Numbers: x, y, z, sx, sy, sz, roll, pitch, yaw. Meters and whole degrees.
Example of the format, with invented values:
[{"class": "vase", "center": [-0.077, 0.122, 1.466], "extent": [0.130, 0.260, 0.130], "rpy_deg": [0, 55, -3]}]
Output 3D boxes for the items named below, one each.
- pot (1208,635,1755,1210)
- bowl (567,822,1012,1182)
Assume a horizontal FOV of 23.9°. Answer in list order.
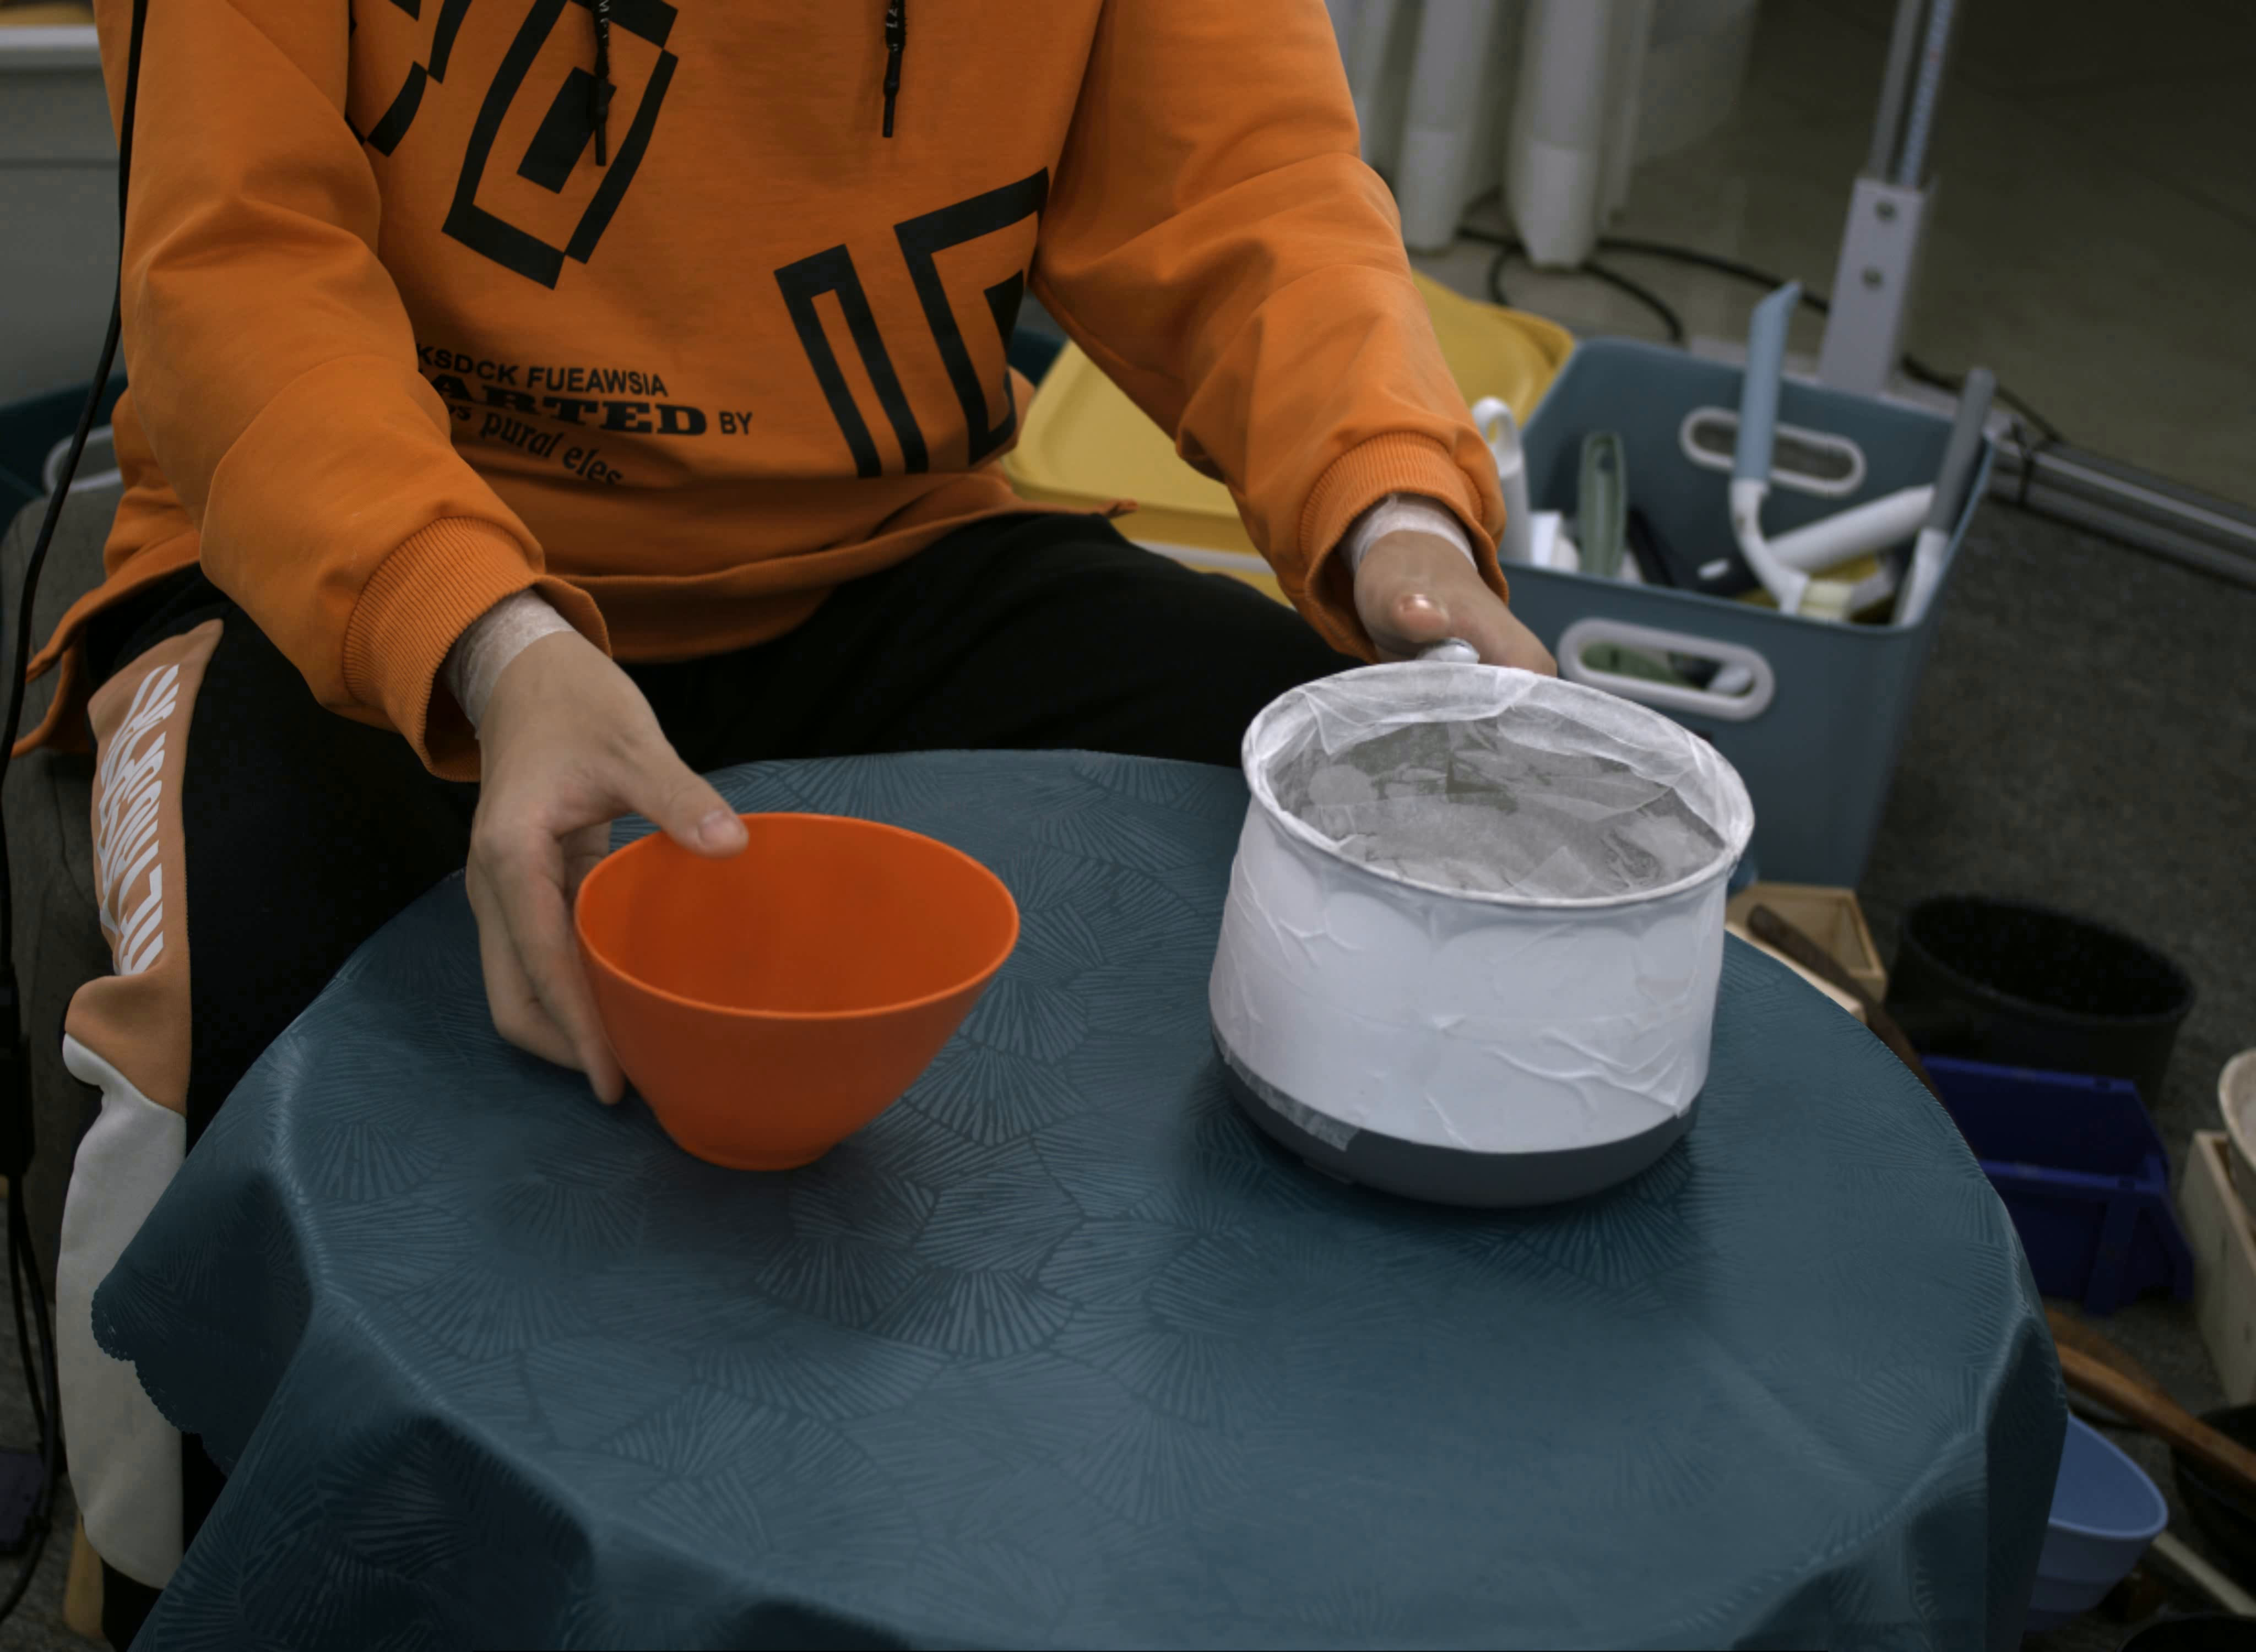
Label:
[{"class": "pot", "center": [0.116, 0.026, 1.868], "extent": [0.178, 0.136, 0.235], "rpy_deg": [3, 28, -9]}, {"class": "bowl", "center": [-0.118, 0.065, 1.782], "extent": [0.147, 0.104, 0.149], "rpy_deg": [7, 32, -5]}]
